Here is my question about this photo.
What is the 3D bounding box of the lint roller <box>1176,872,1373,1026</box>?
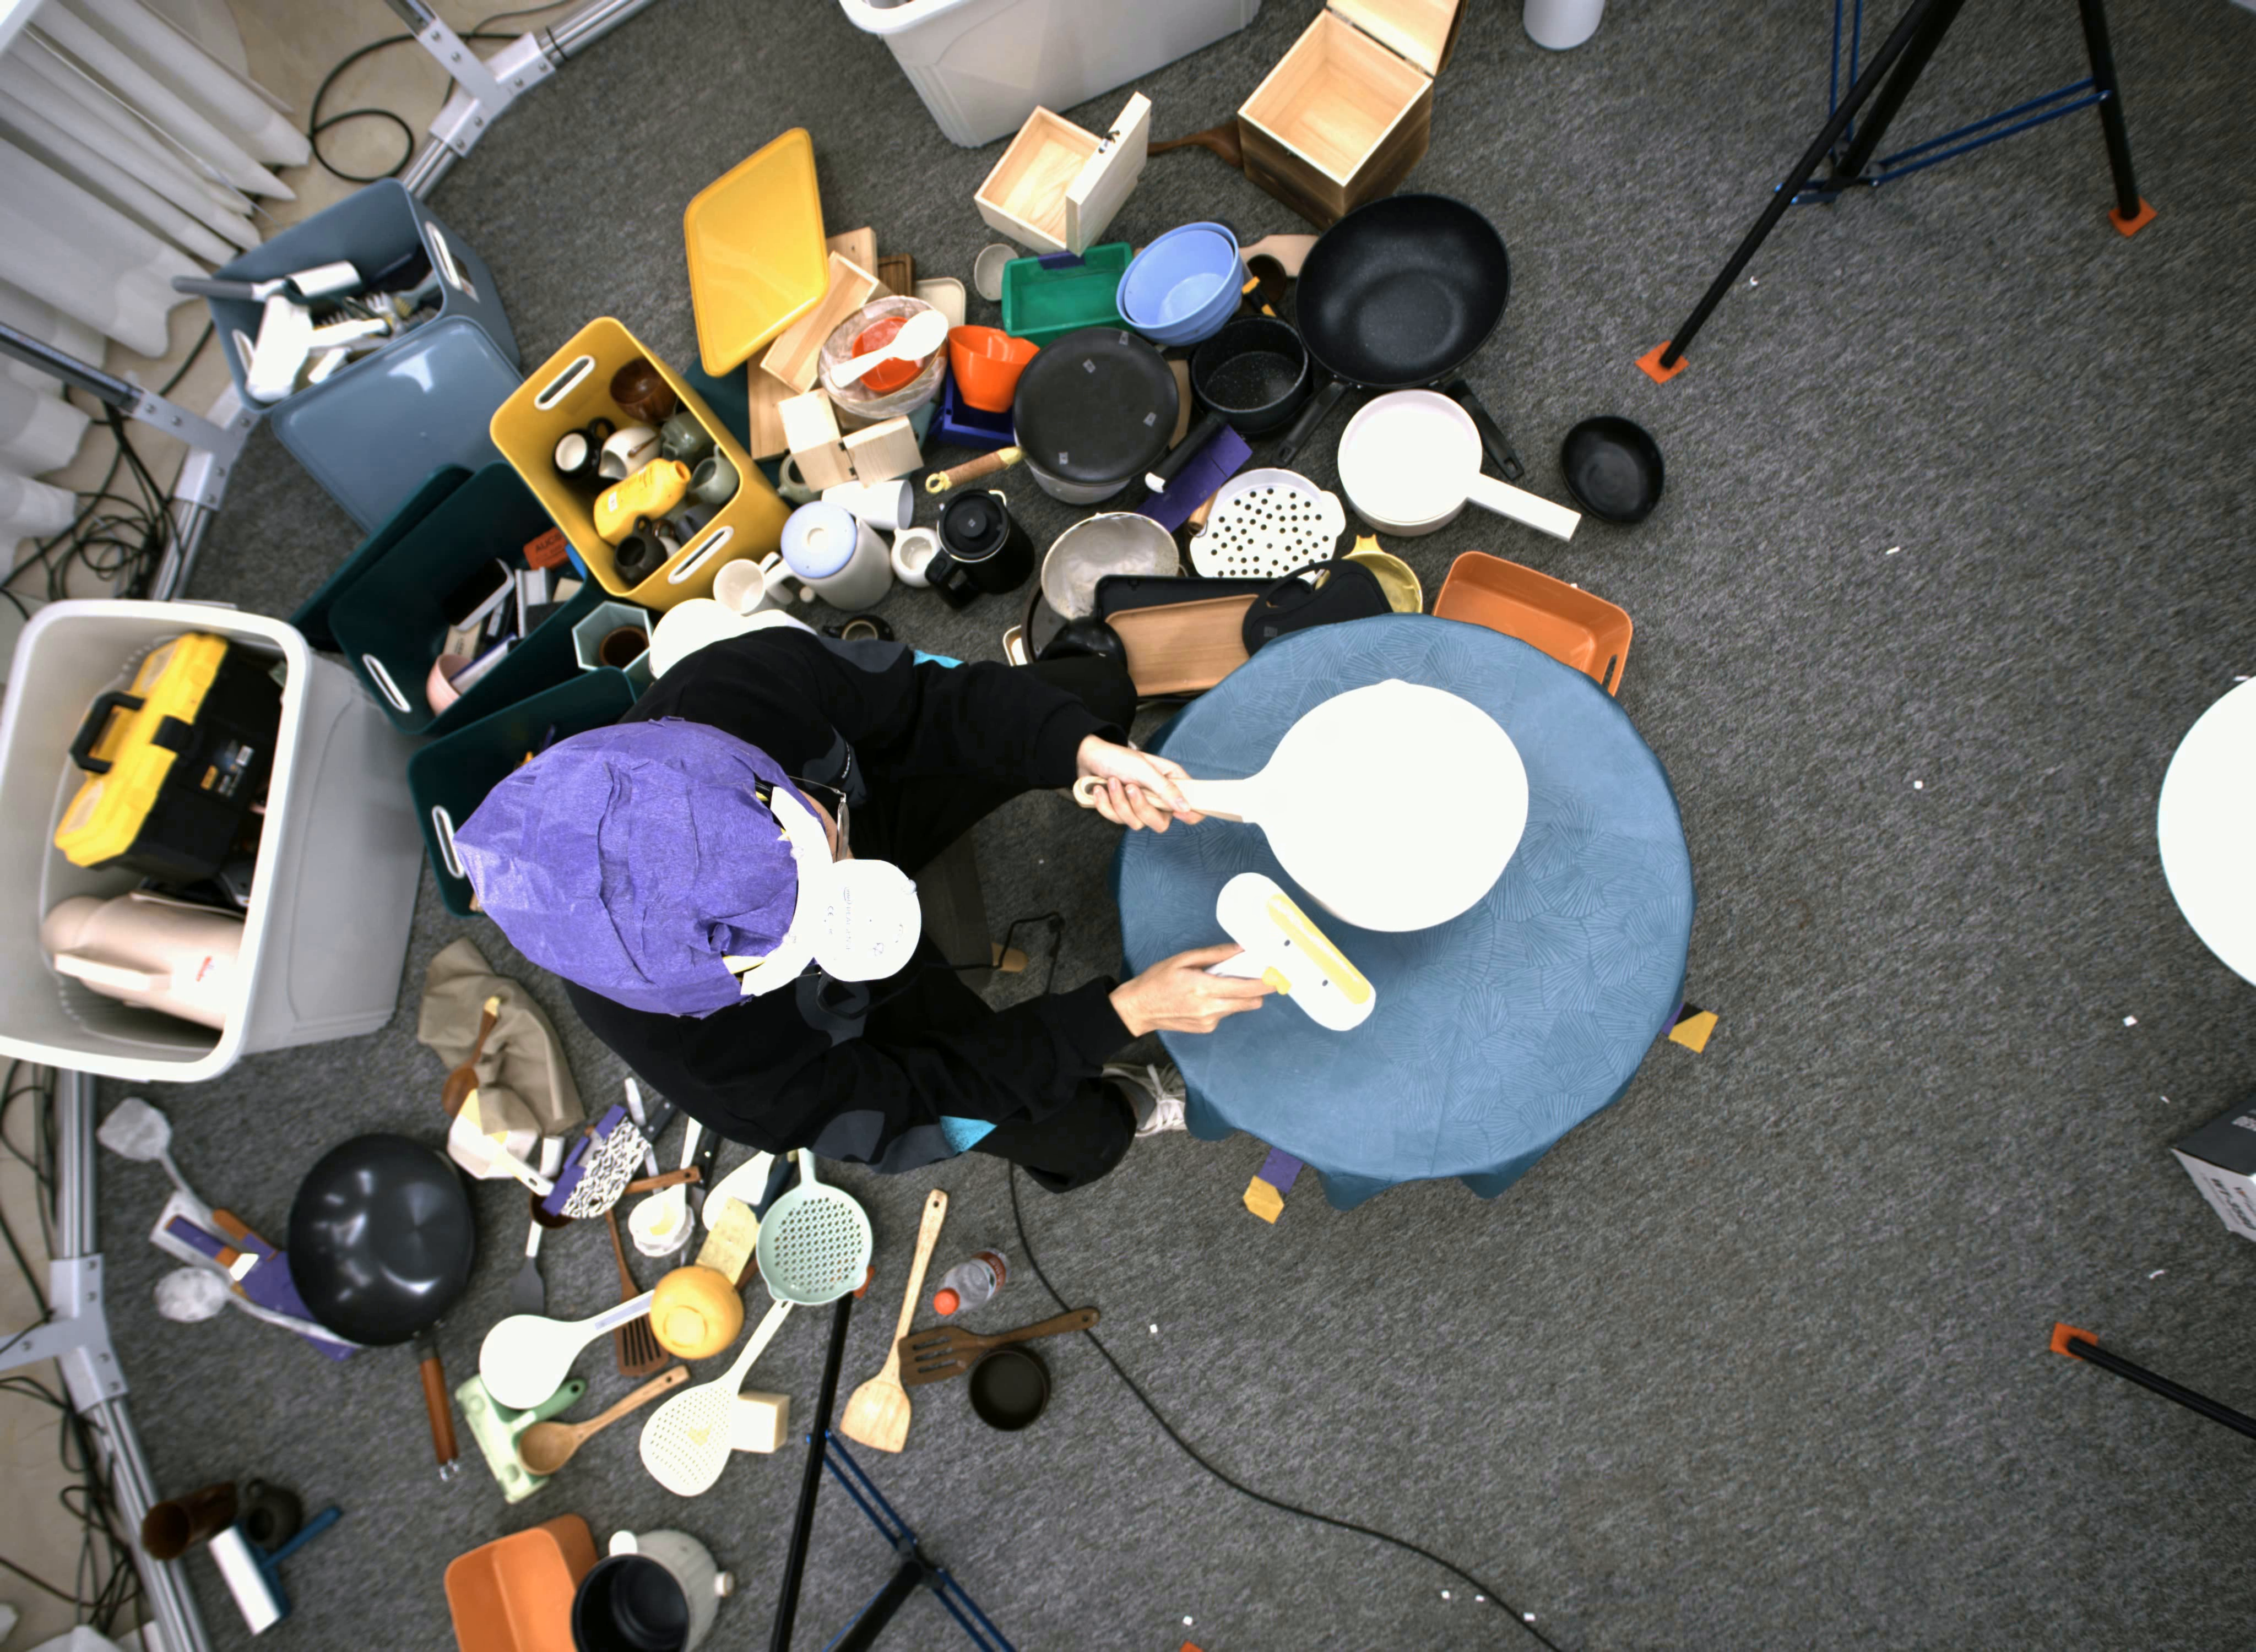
[{"bbox_3d":[0.120,0.137,1.360,0.194,0.195,0.072,39,58,-19],"label":"lint roller"}]

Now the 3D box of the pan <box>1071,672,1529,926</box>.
[{"bbox_3d":[0.167,-0.019,1.356,0.437,0.103,0.258,-1,68,13],"label":"pan"}]
